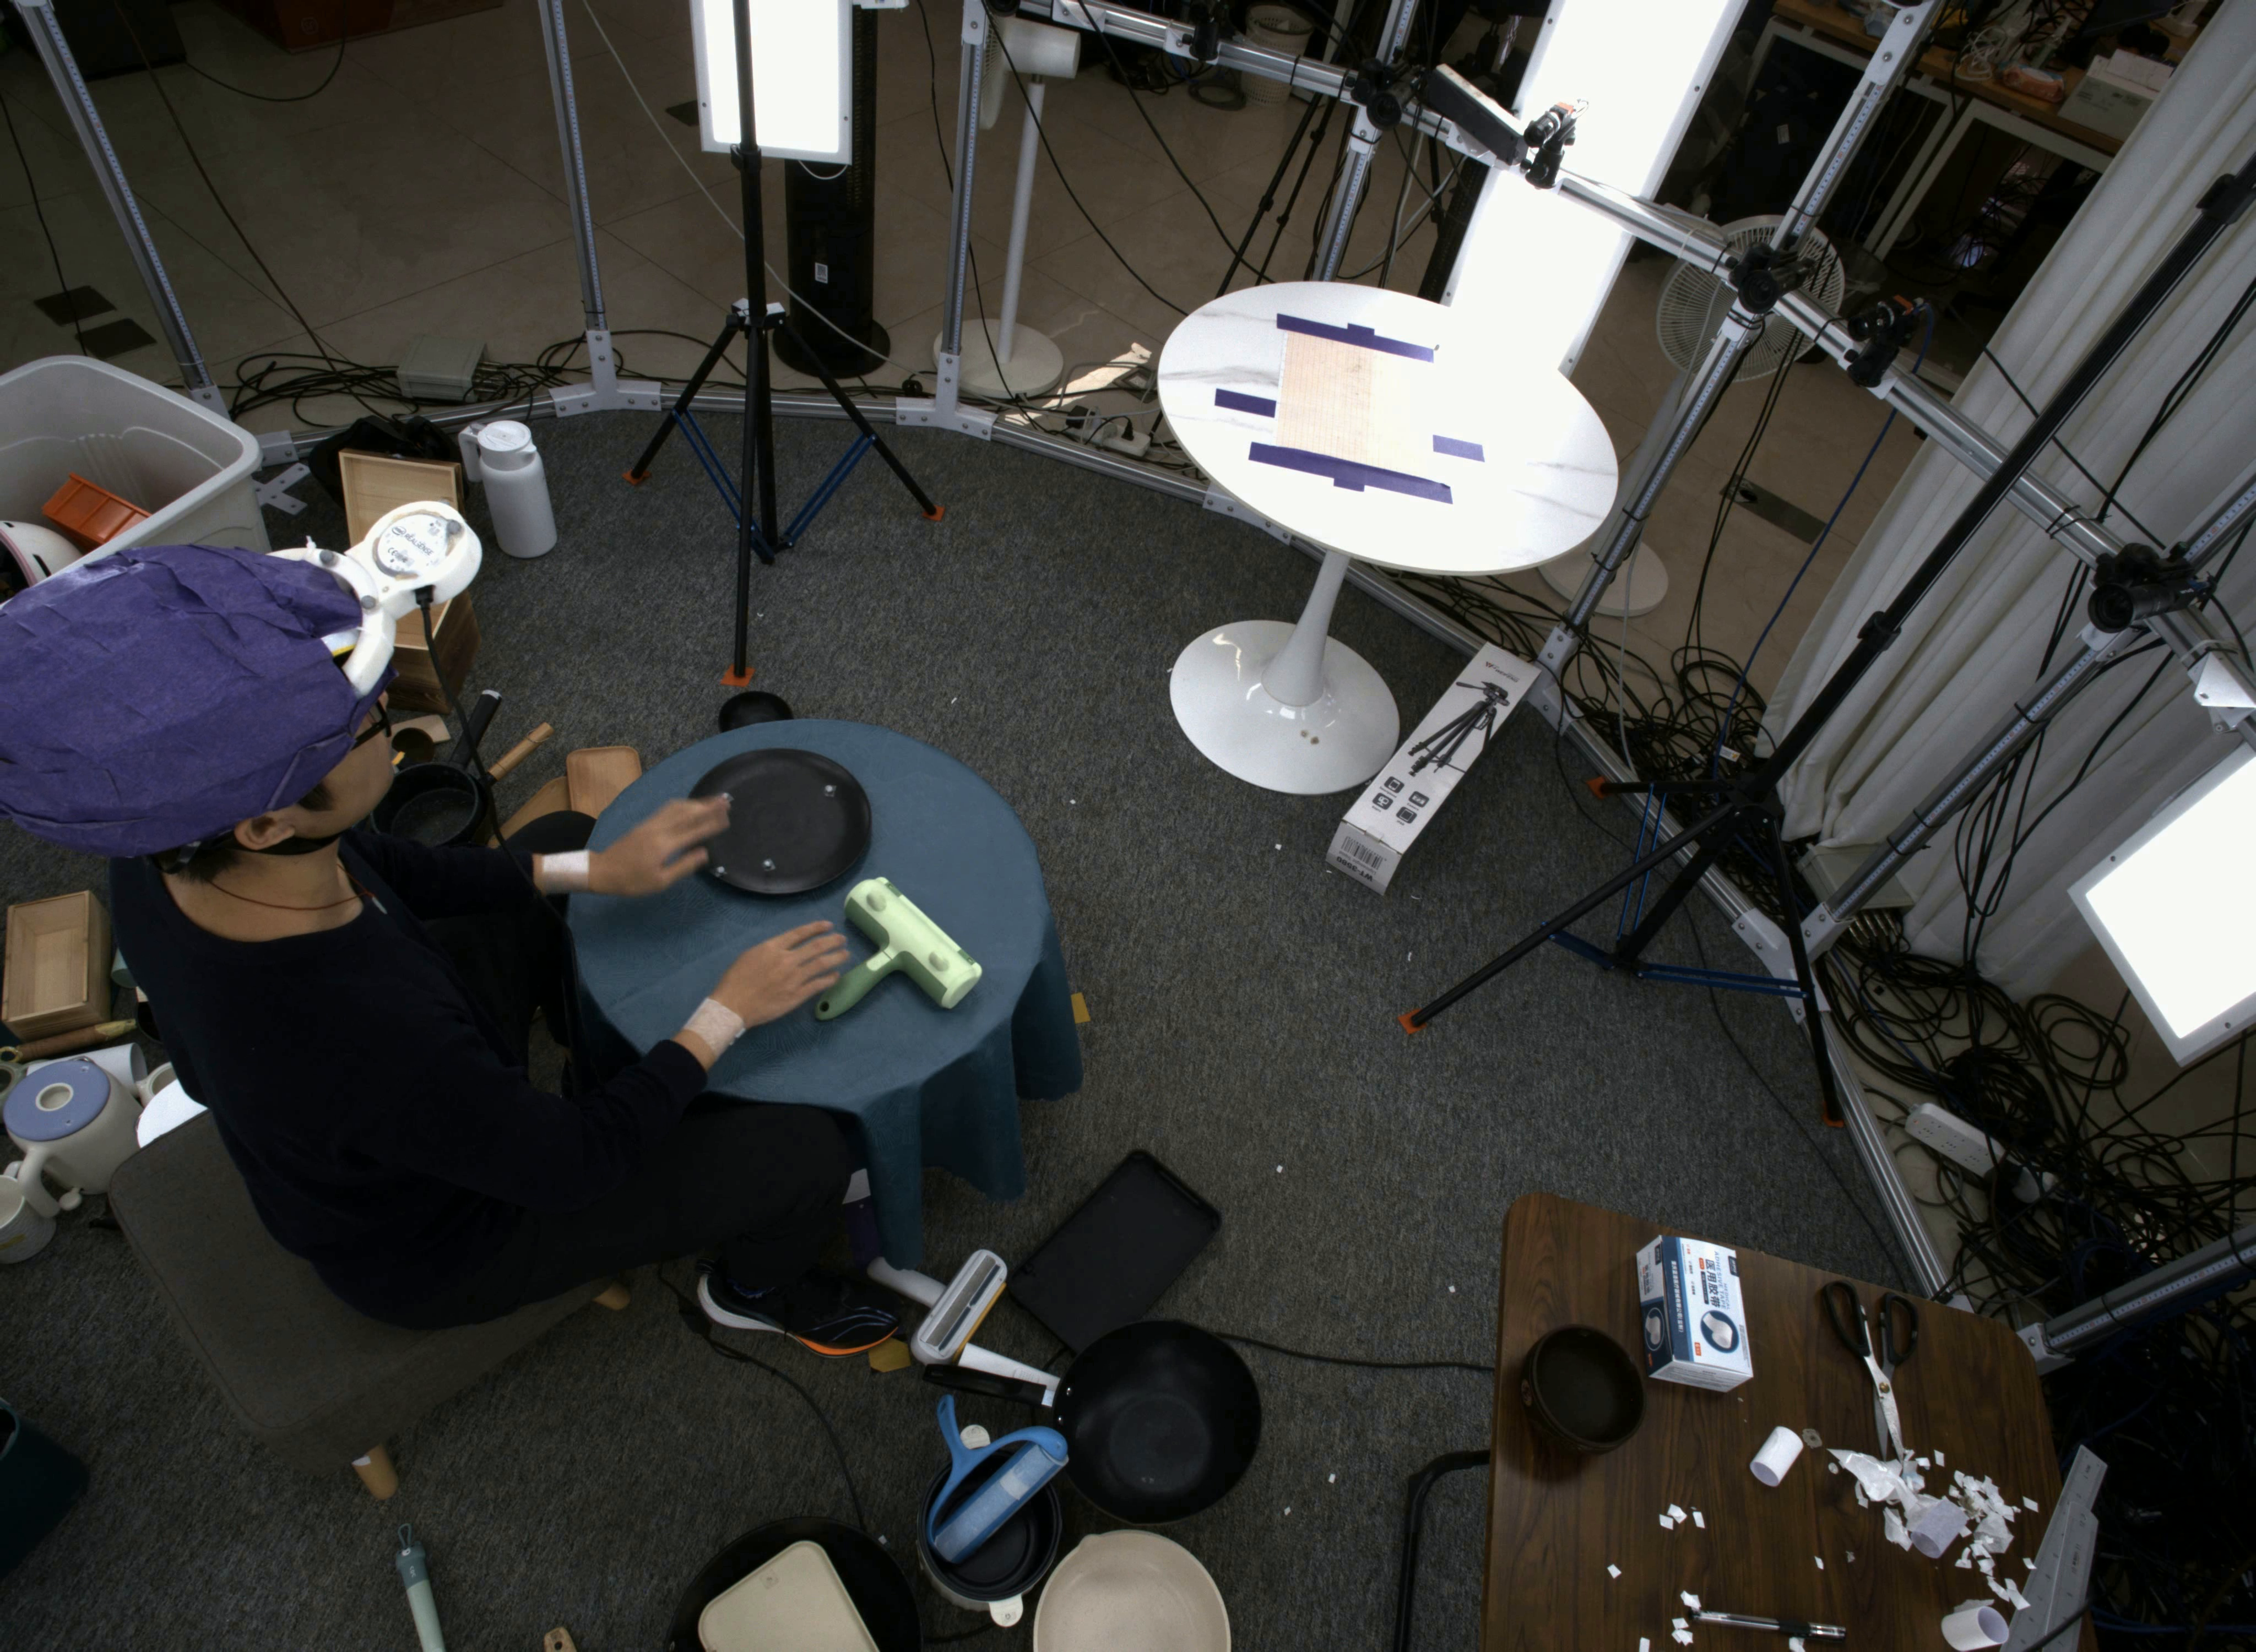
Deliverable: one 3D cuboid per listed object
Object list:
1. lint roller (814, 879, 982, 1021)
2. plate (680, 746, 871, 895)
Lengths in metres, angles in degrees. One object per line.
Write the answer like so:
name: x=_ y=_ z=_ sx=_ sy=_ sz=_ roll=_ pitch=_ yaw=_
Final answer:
lint roller: x=-0.304 y=0.161 z=1.569 sx=0.194 sy=0.084 sz=0.184 roll=39 pitch=47 yaw=17
plate: x=-0.460 y=-0.006 z=1.694 sx=0.244 sy=0.024 sz=0.240 roll=8 pitch=52 yaw=-9
